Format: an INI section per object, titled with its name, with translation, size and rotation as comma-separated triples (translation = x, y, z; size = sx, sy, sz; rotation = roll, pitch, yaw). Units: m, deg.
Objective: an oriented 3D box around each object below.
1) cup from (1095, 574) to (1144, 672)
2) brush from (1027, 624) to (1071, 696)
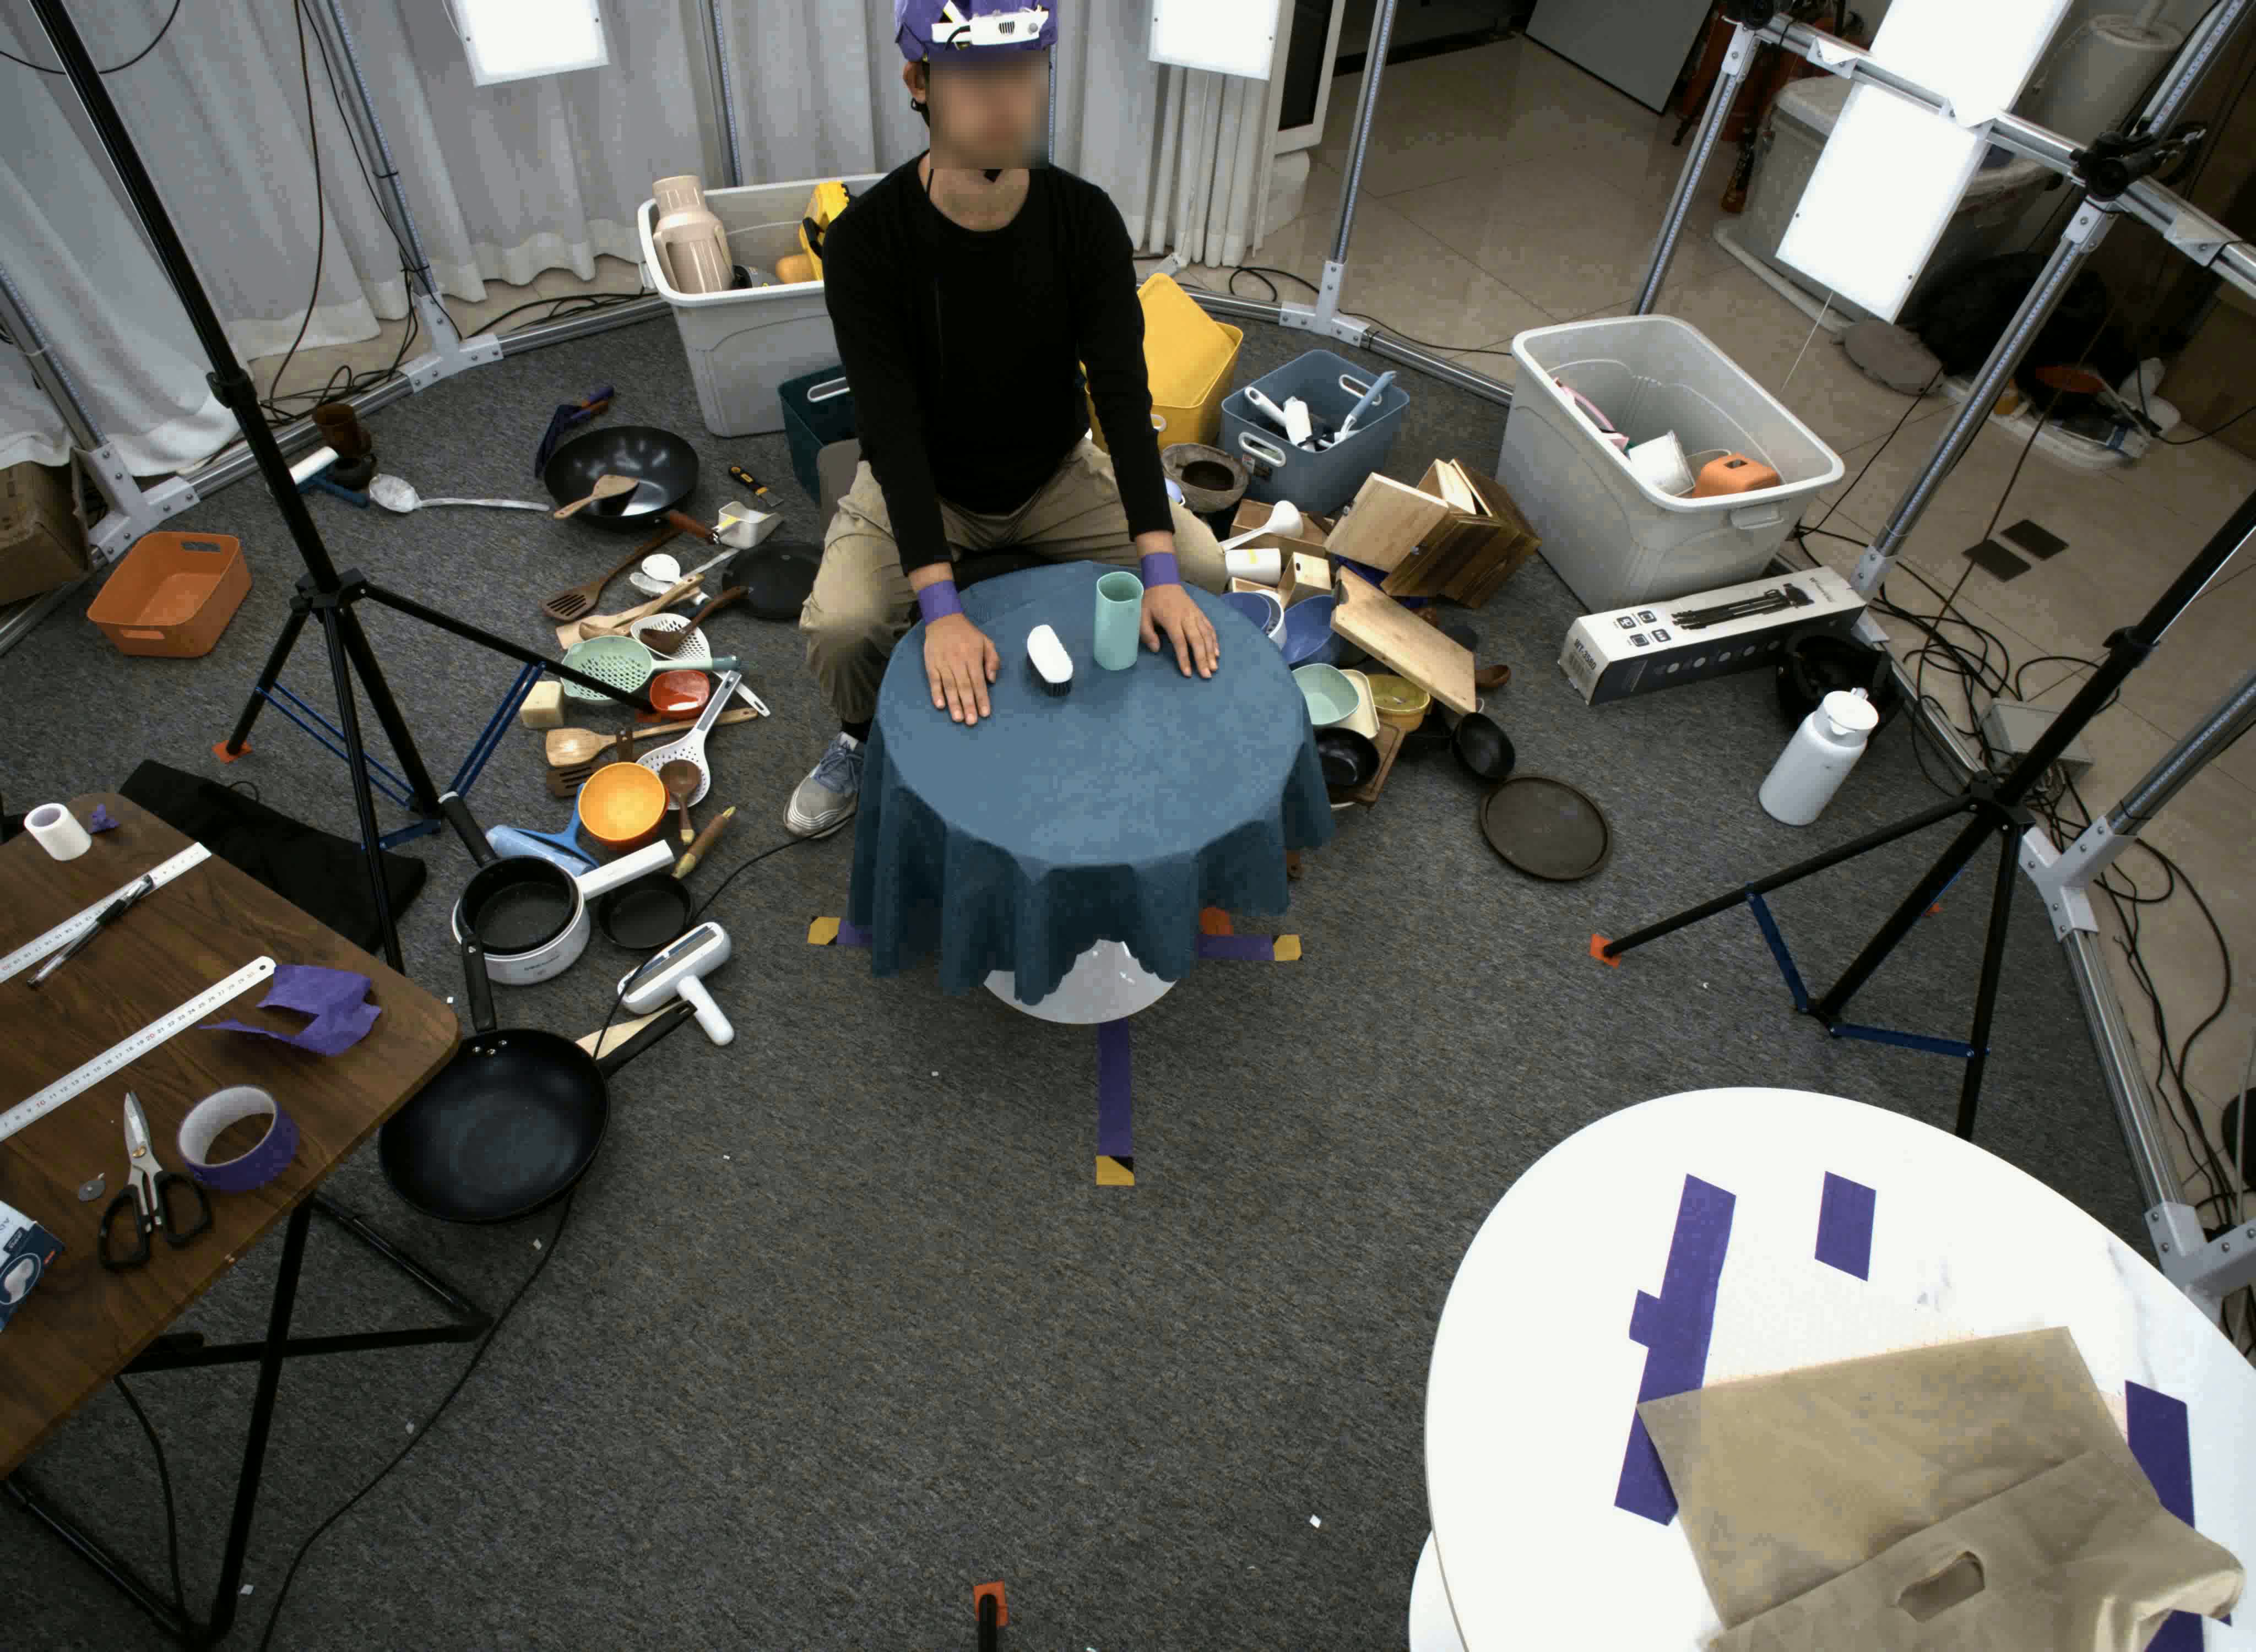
[cup]
translation = -0.015, -0.289, 1.837
size = 0.066, 0.129, 0.068
rotation = 2, 50, -3
[brush]
translation = -0.112, -0.243, 1.822
size = 0.050, 0.071, 0.101
rotation = -14, 52, -17
